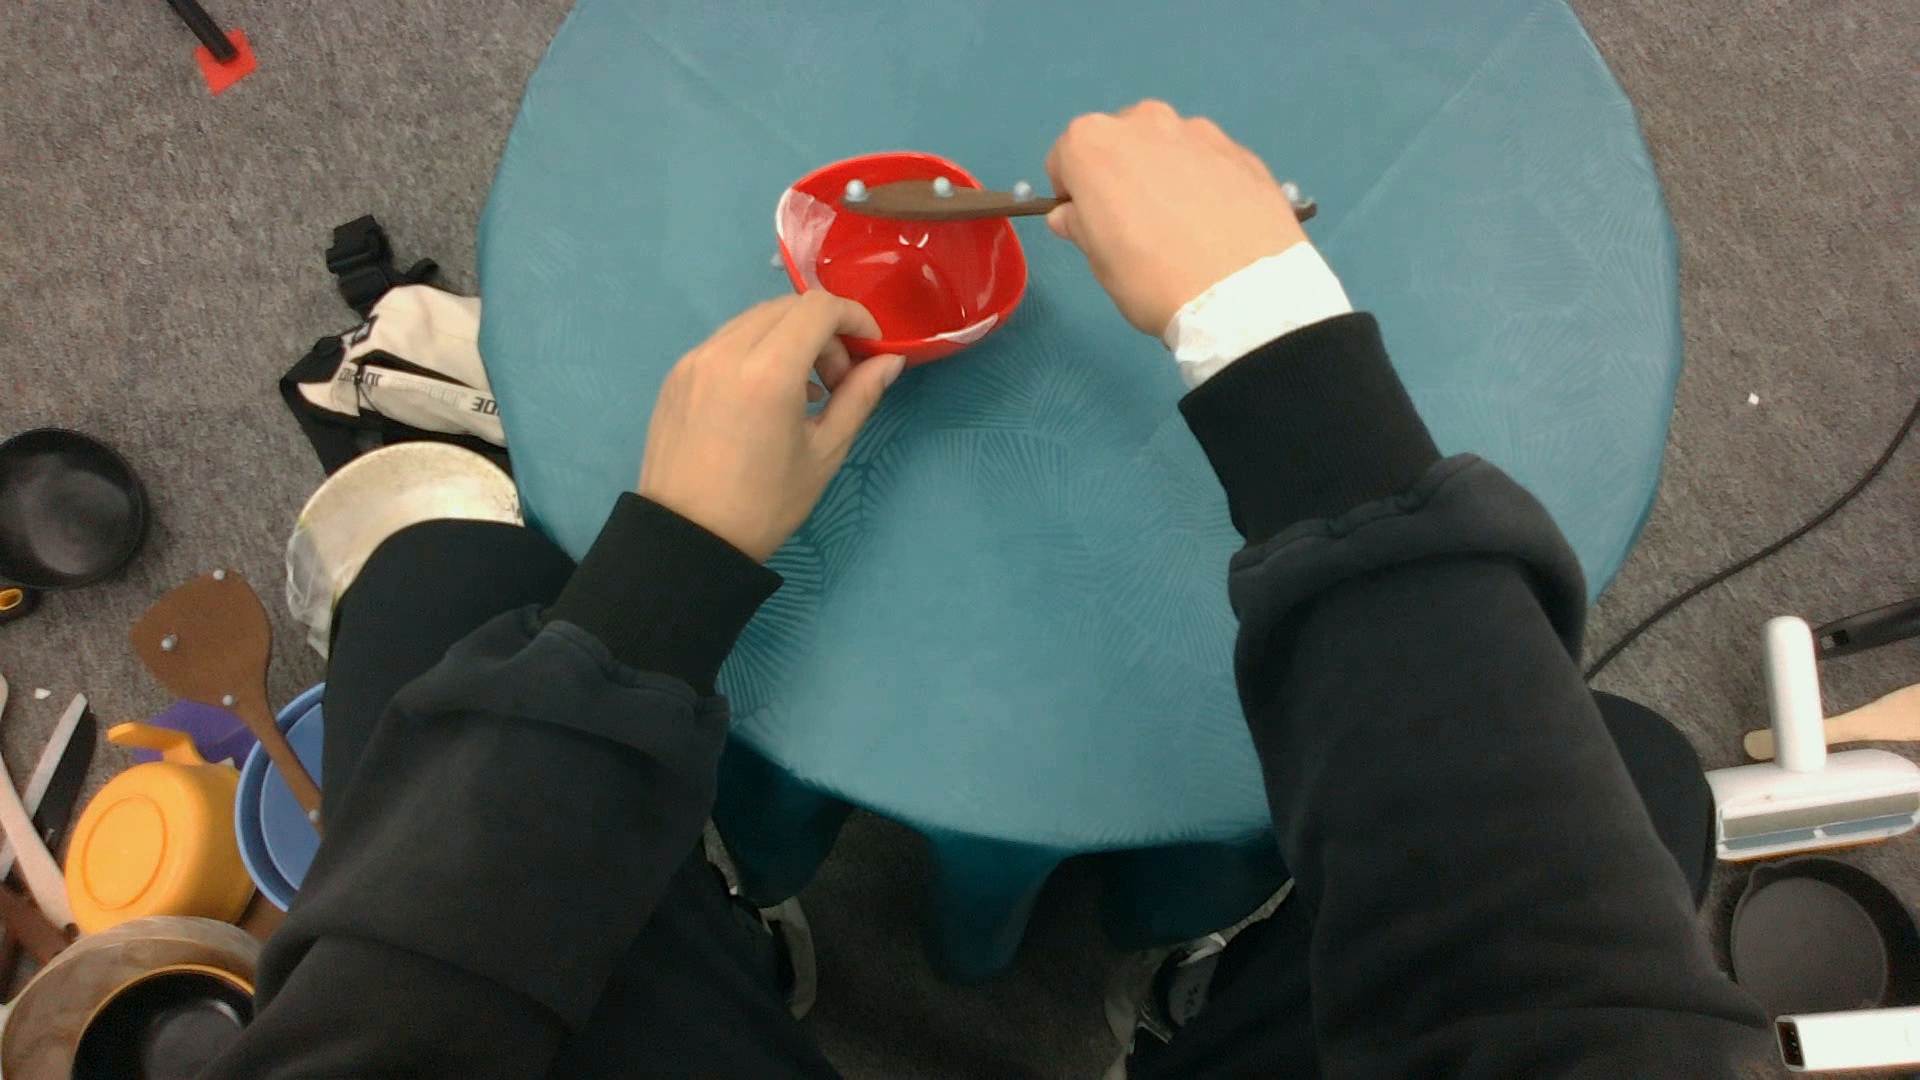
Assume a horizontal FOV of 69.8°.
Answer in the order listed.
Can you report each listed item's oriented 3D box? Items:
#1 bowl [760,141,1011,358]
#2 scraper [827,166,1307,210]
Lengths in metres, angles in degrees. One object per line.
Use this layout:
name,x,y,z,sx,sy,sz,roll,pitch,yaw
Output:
bowl,-0.039,-0.129,0.650,0.119,0.051,0.119,7,59,-11
scraper,0.043,-0.149,0.588,0.211,0.076,0.011,11,115,30
